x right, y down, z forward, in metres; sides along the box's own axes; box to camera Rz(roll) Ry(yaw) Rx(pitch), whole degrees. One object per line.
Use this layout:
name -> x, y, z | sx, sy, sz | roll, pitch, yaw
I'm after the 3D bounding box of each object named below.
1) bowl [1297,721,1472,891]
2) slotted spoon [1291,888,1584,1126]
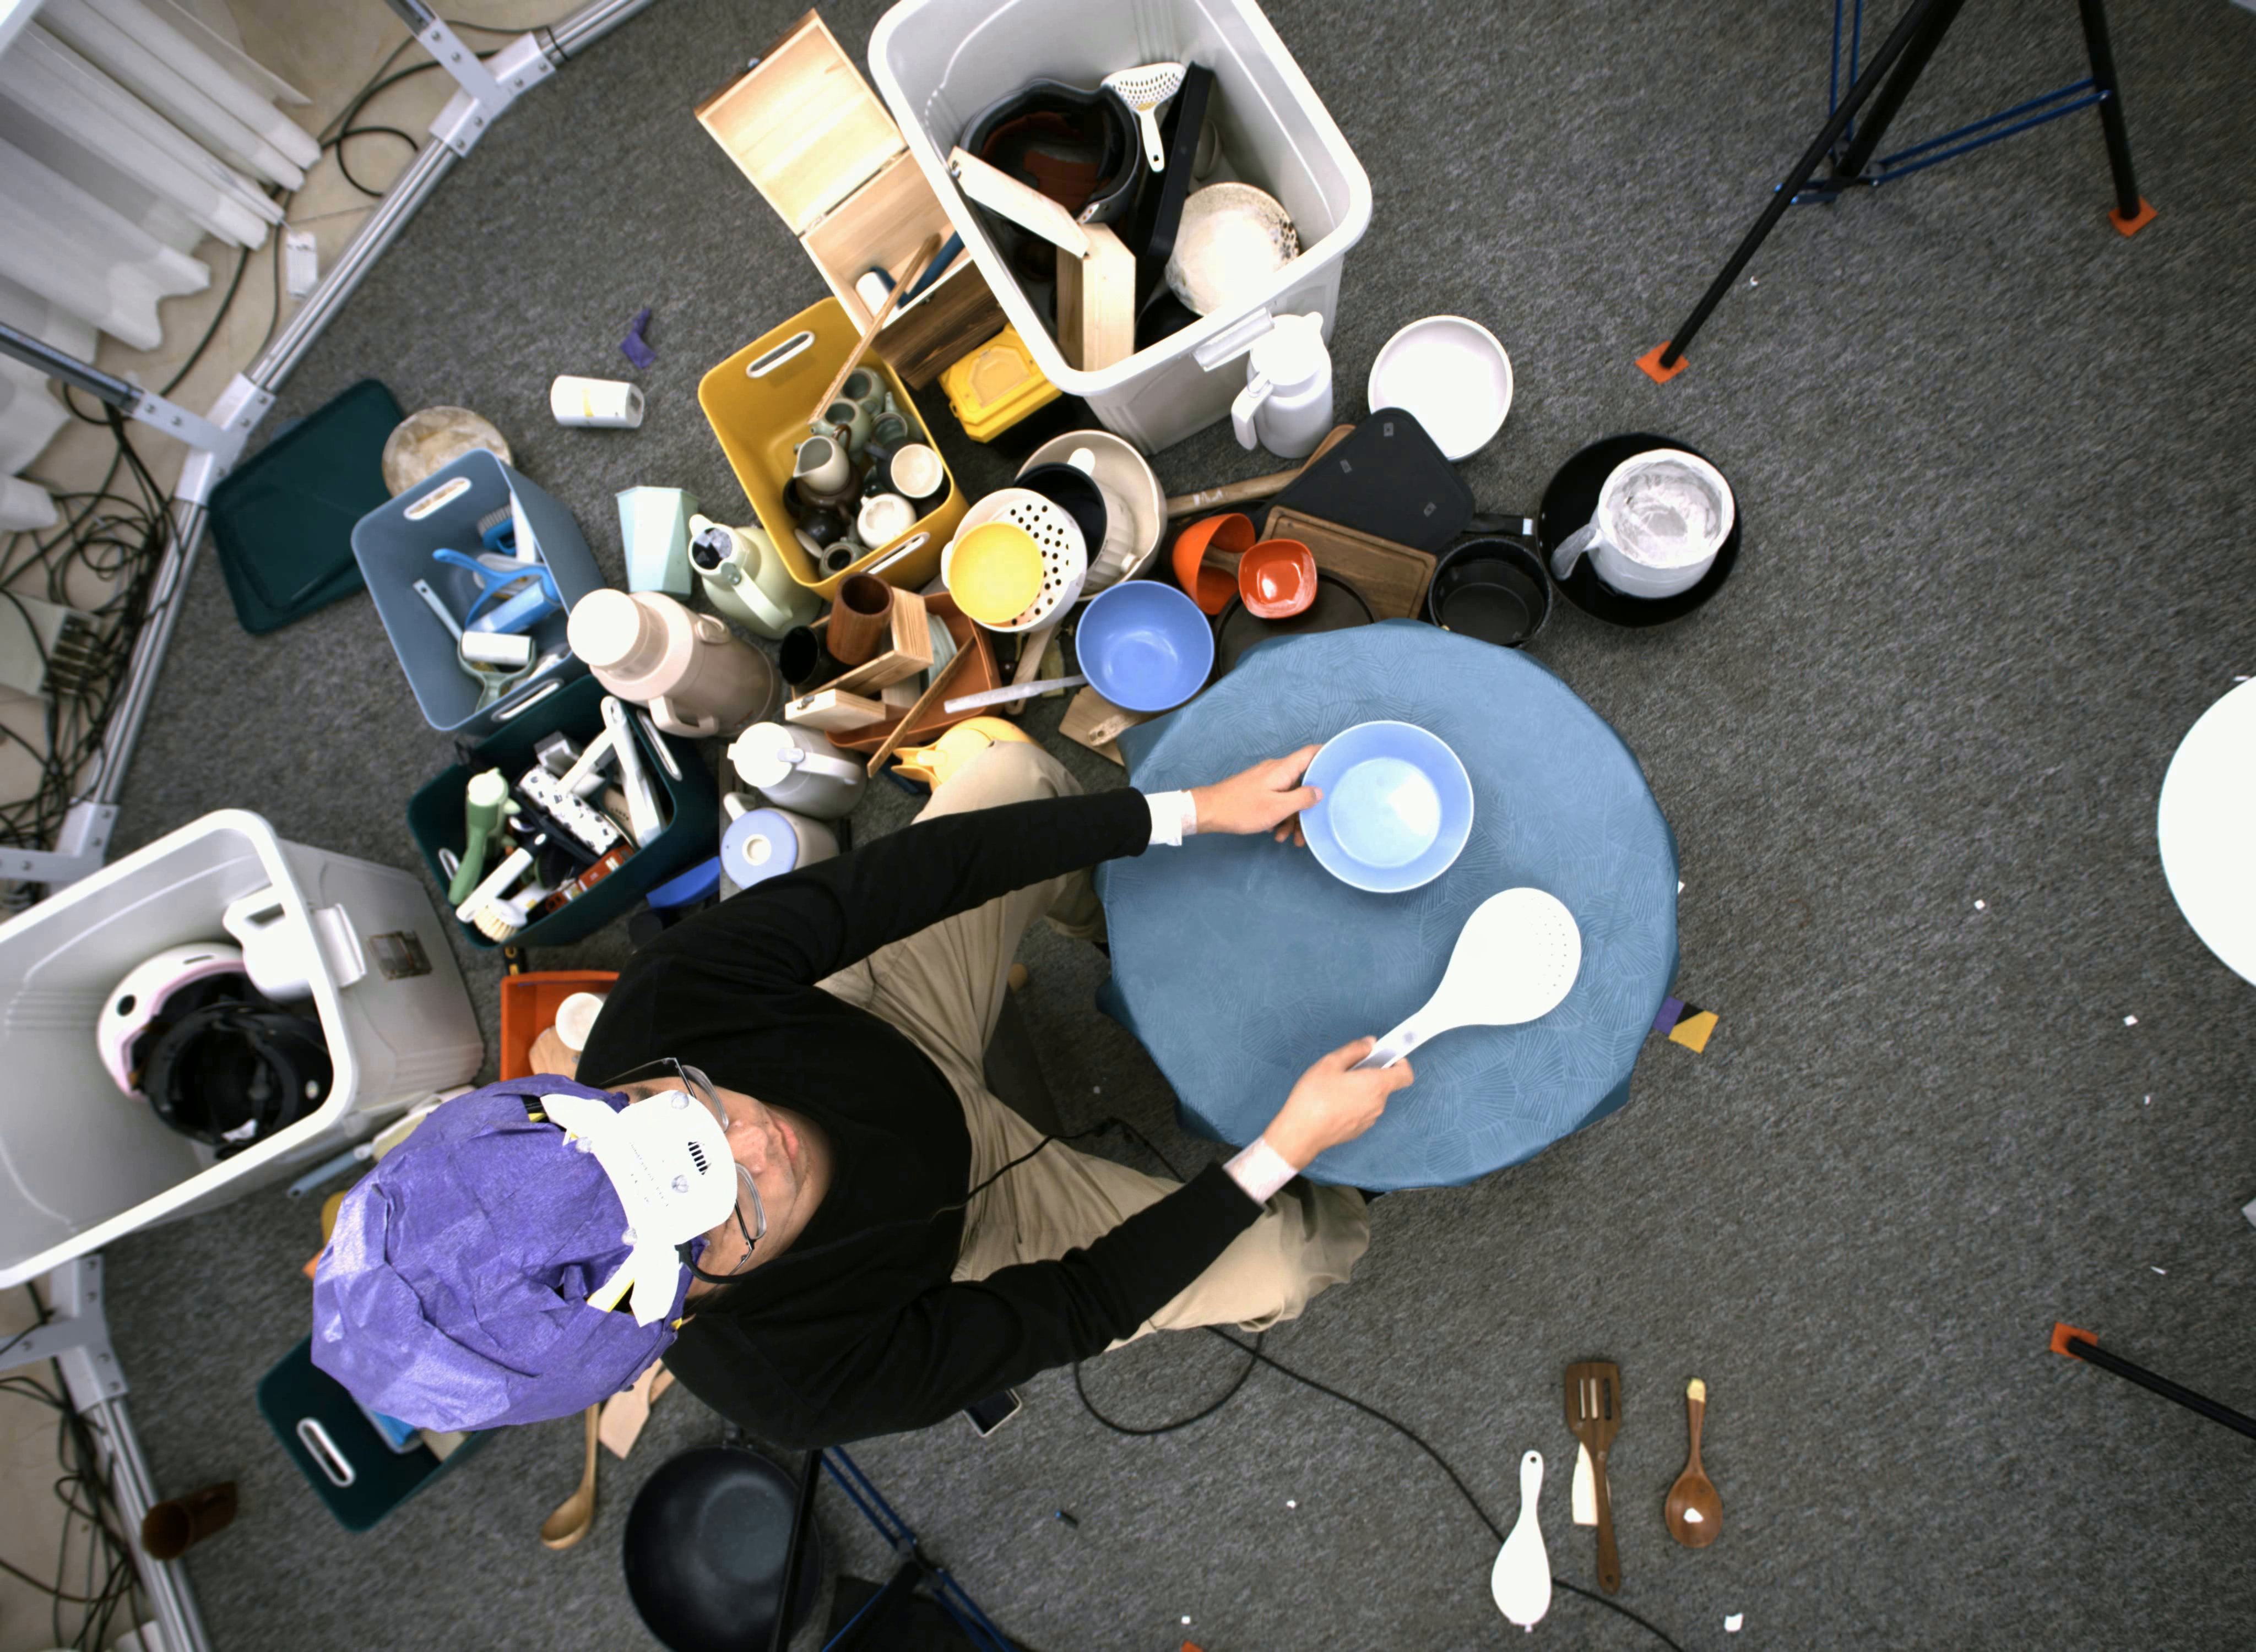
bowl -> 0.265, -0.019, 1.430 | 0.177, 0.070, 0.175 | -1, 86, 11
slotted spoon -> 0.310, 0.188, 1.386 | 0.347, 0.045, 0.137 | -36, 103, -9
